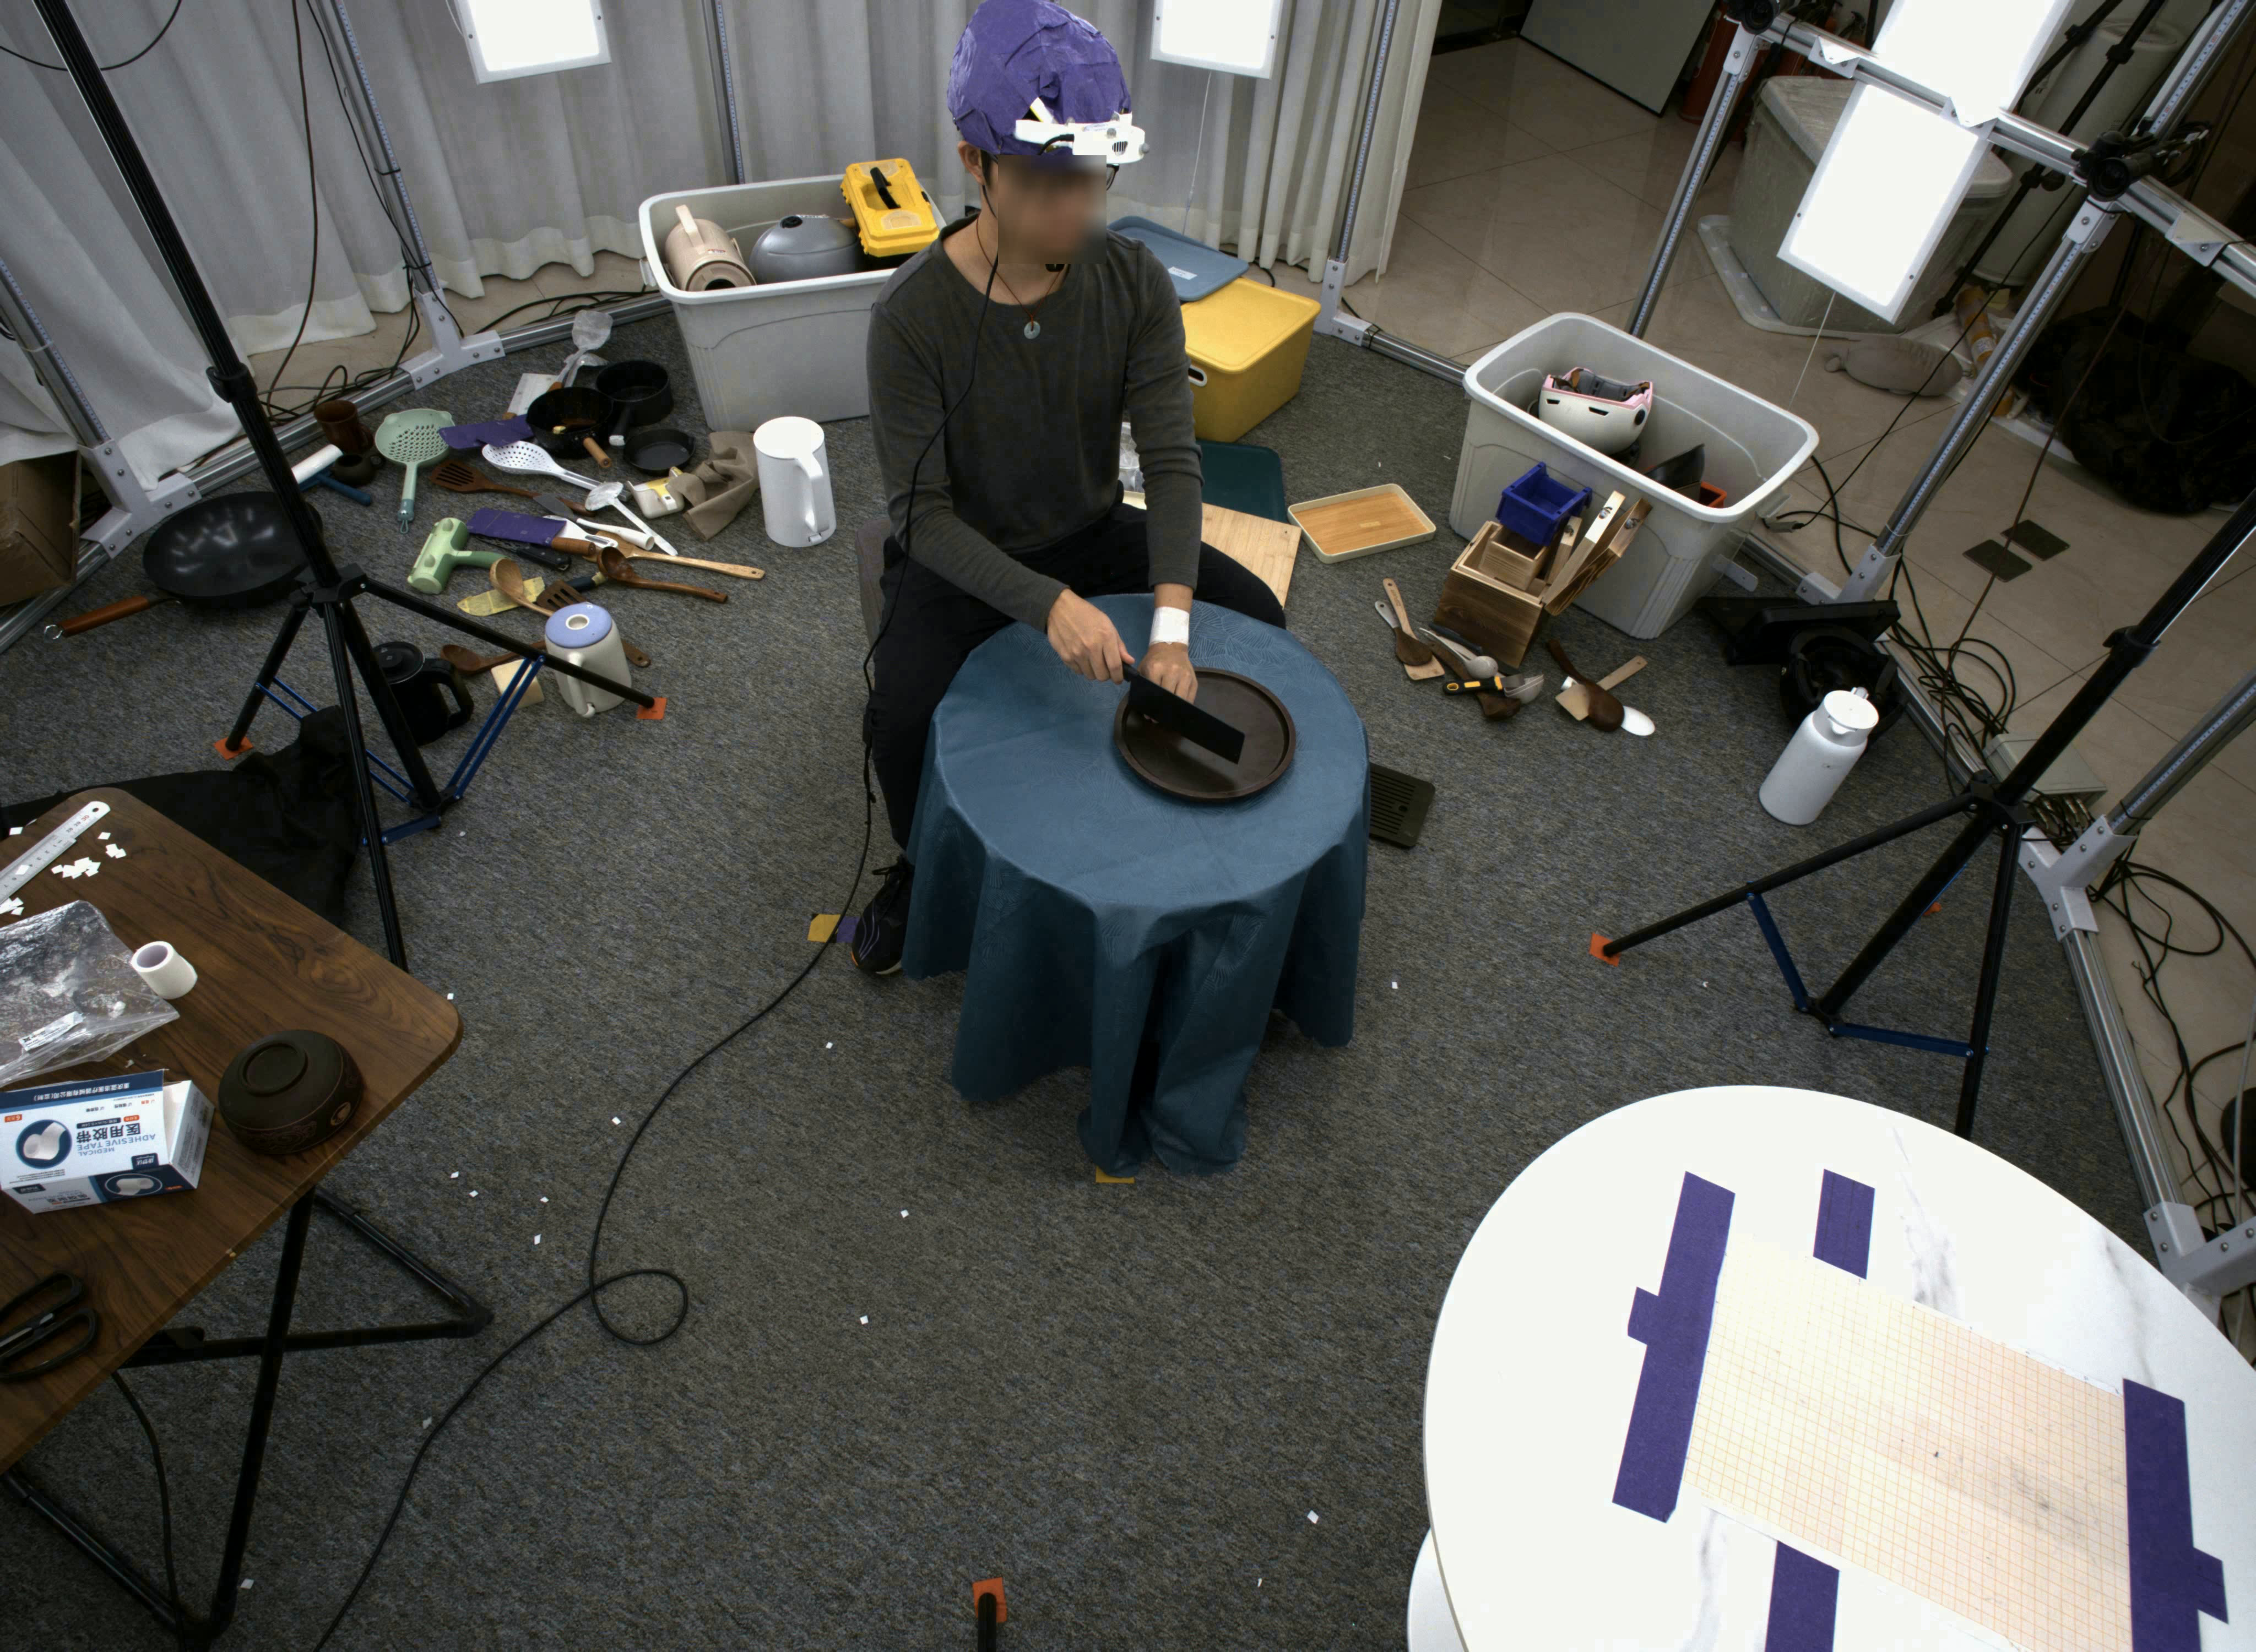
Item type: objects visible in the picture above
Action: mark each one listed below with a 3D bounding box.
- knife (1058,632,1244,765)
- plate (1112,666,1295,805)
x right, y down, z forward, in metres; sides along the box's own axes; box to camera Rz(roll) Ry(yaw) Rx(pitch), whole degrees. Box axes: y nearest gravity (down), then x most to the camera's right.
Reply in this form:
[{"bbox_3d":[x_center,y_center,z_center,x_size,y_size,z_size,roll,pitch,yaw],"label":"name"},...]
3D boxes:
[{"bbox_3d":[0.028,-0.177,1.735,0.305,0.079,0.021,35,54,16],"label":"knife"},{"bbox_3d":[0.104,-0.127,1.770,0.254,0.028,0.261,1,50,-2],"label":"plate"}]
